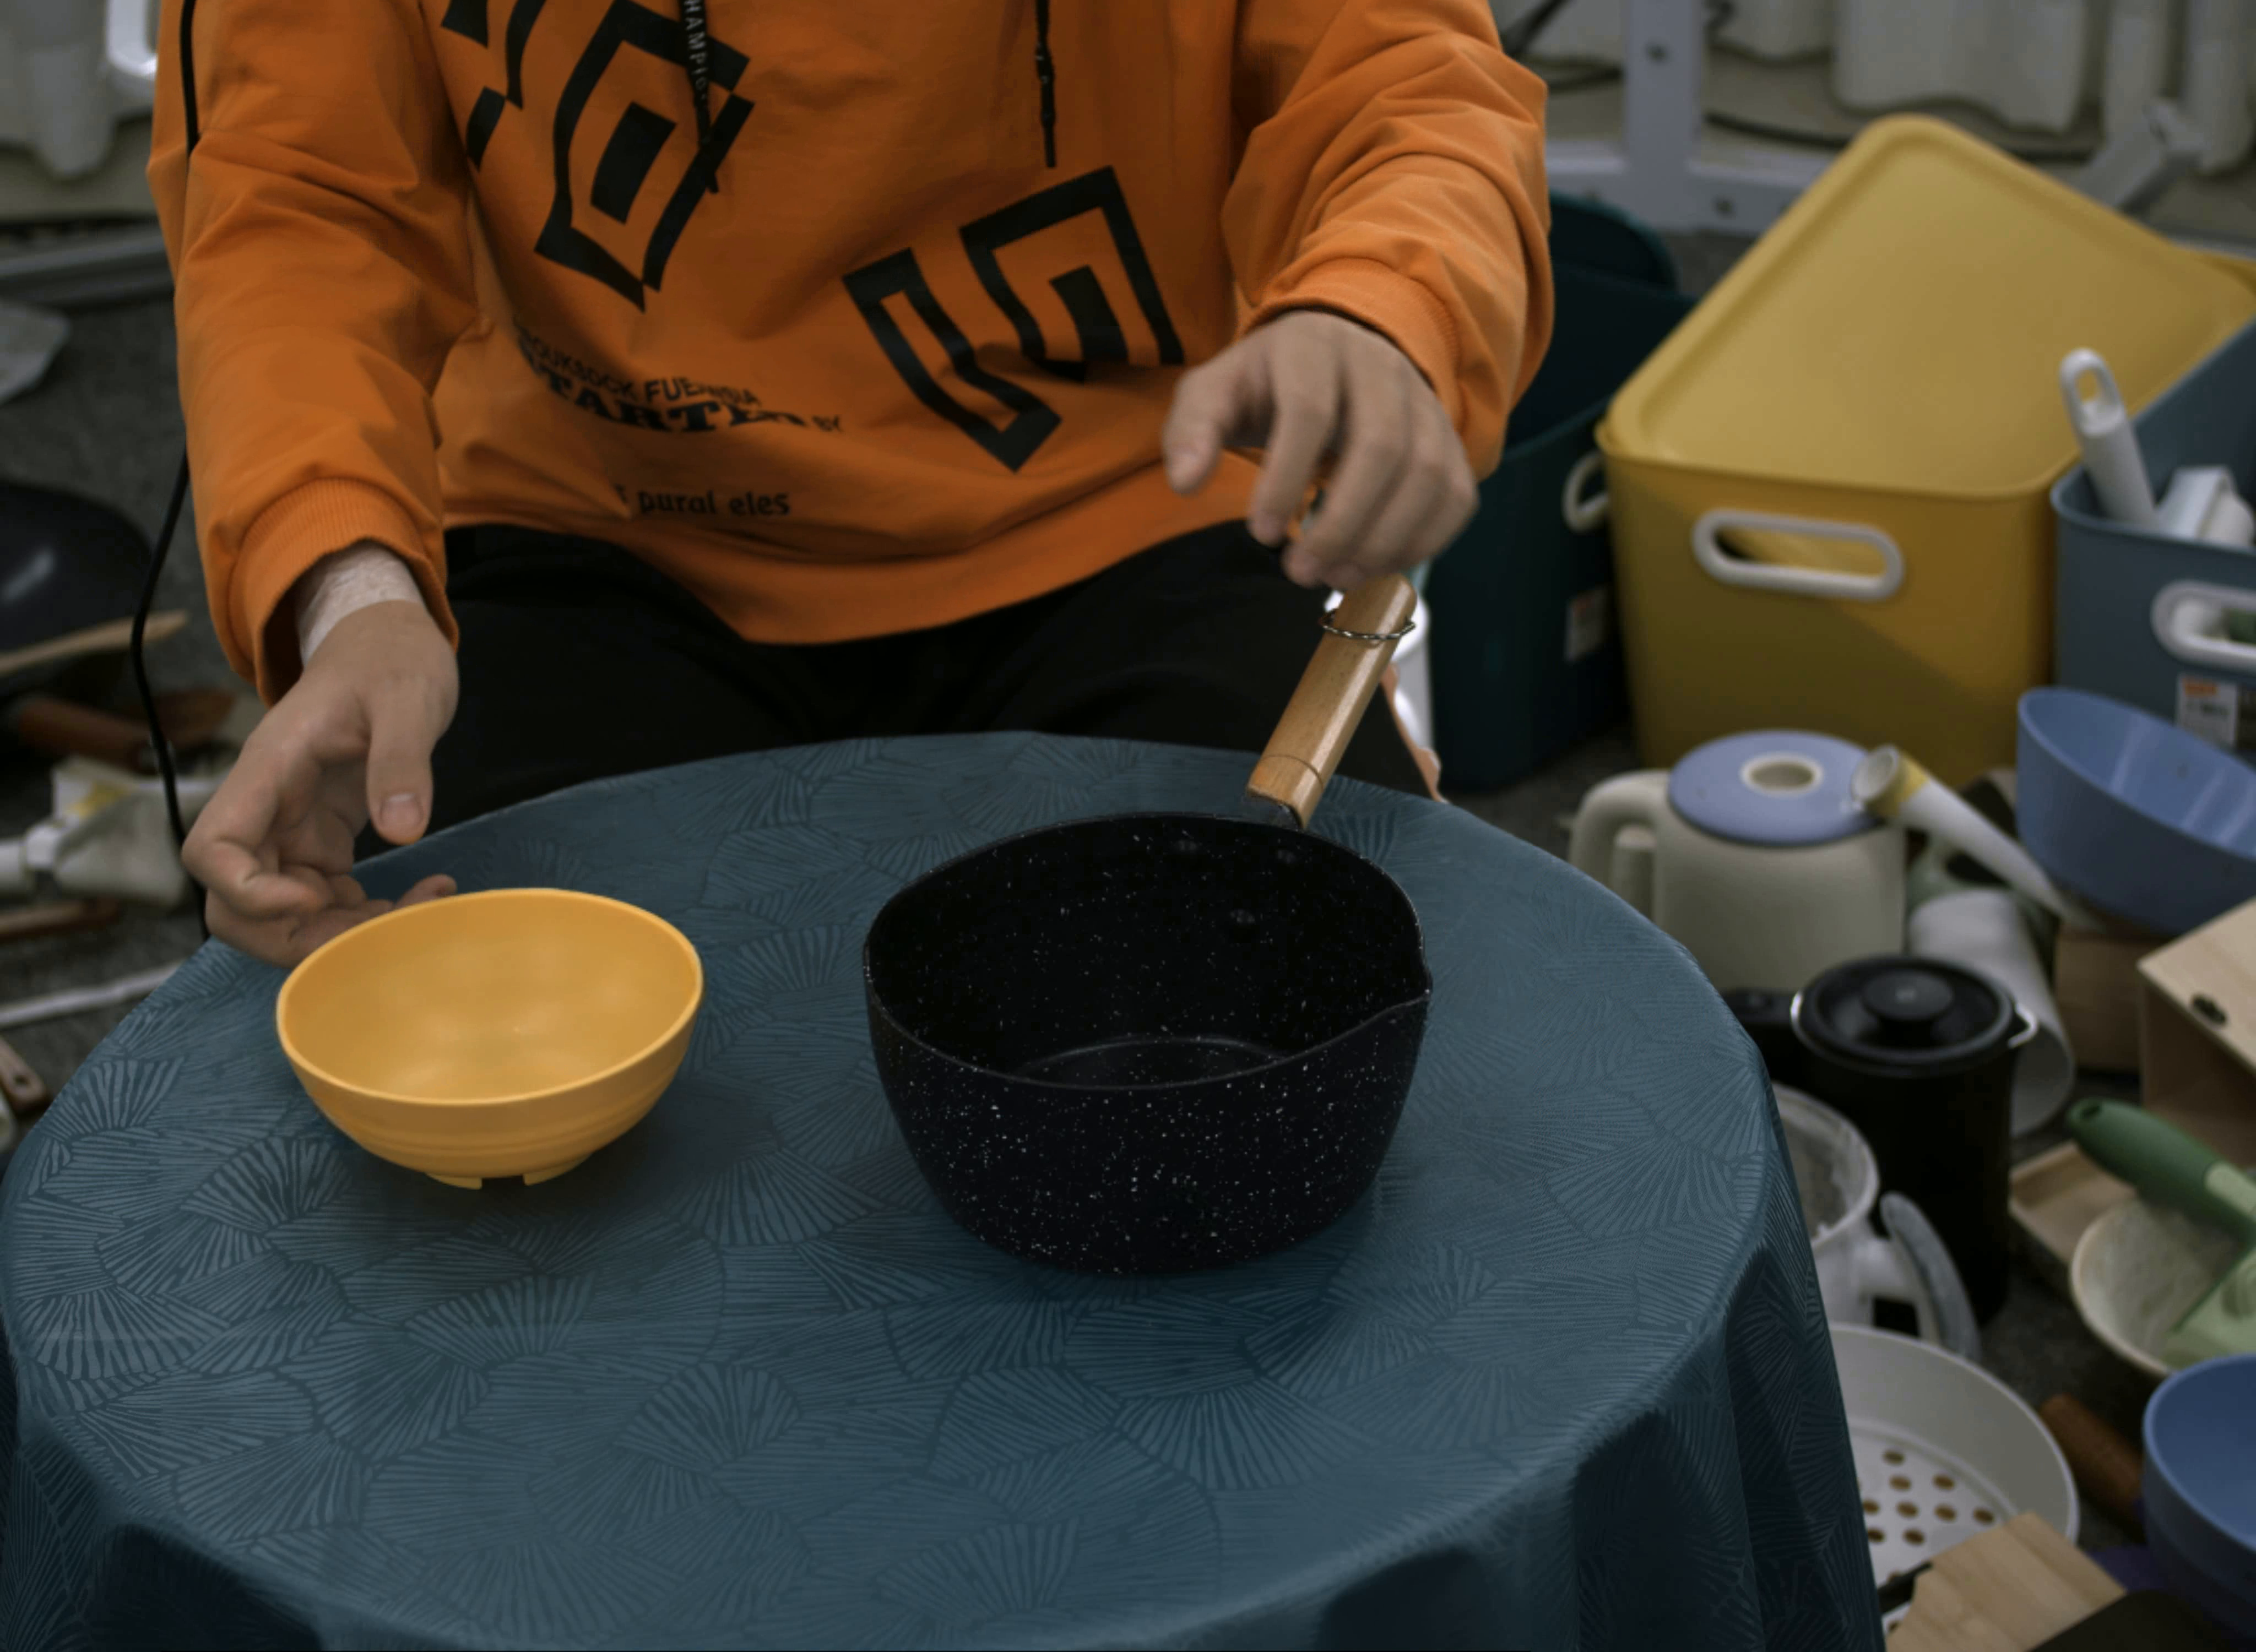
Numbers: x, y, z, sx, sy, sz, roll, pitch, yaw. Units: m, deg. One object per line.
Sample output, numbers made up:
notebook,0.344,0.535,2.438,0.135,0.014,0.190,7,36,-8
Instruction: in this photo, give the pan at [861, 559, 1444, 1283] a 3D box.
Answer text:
pan,0.034,0.029,1.922,0.206,0.107,0.349,6,30,20

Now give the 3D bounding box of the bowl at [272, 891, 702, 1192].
bowl,-0.214,0.082,1.898,0.144,0.059,0.147,-1,27,1
